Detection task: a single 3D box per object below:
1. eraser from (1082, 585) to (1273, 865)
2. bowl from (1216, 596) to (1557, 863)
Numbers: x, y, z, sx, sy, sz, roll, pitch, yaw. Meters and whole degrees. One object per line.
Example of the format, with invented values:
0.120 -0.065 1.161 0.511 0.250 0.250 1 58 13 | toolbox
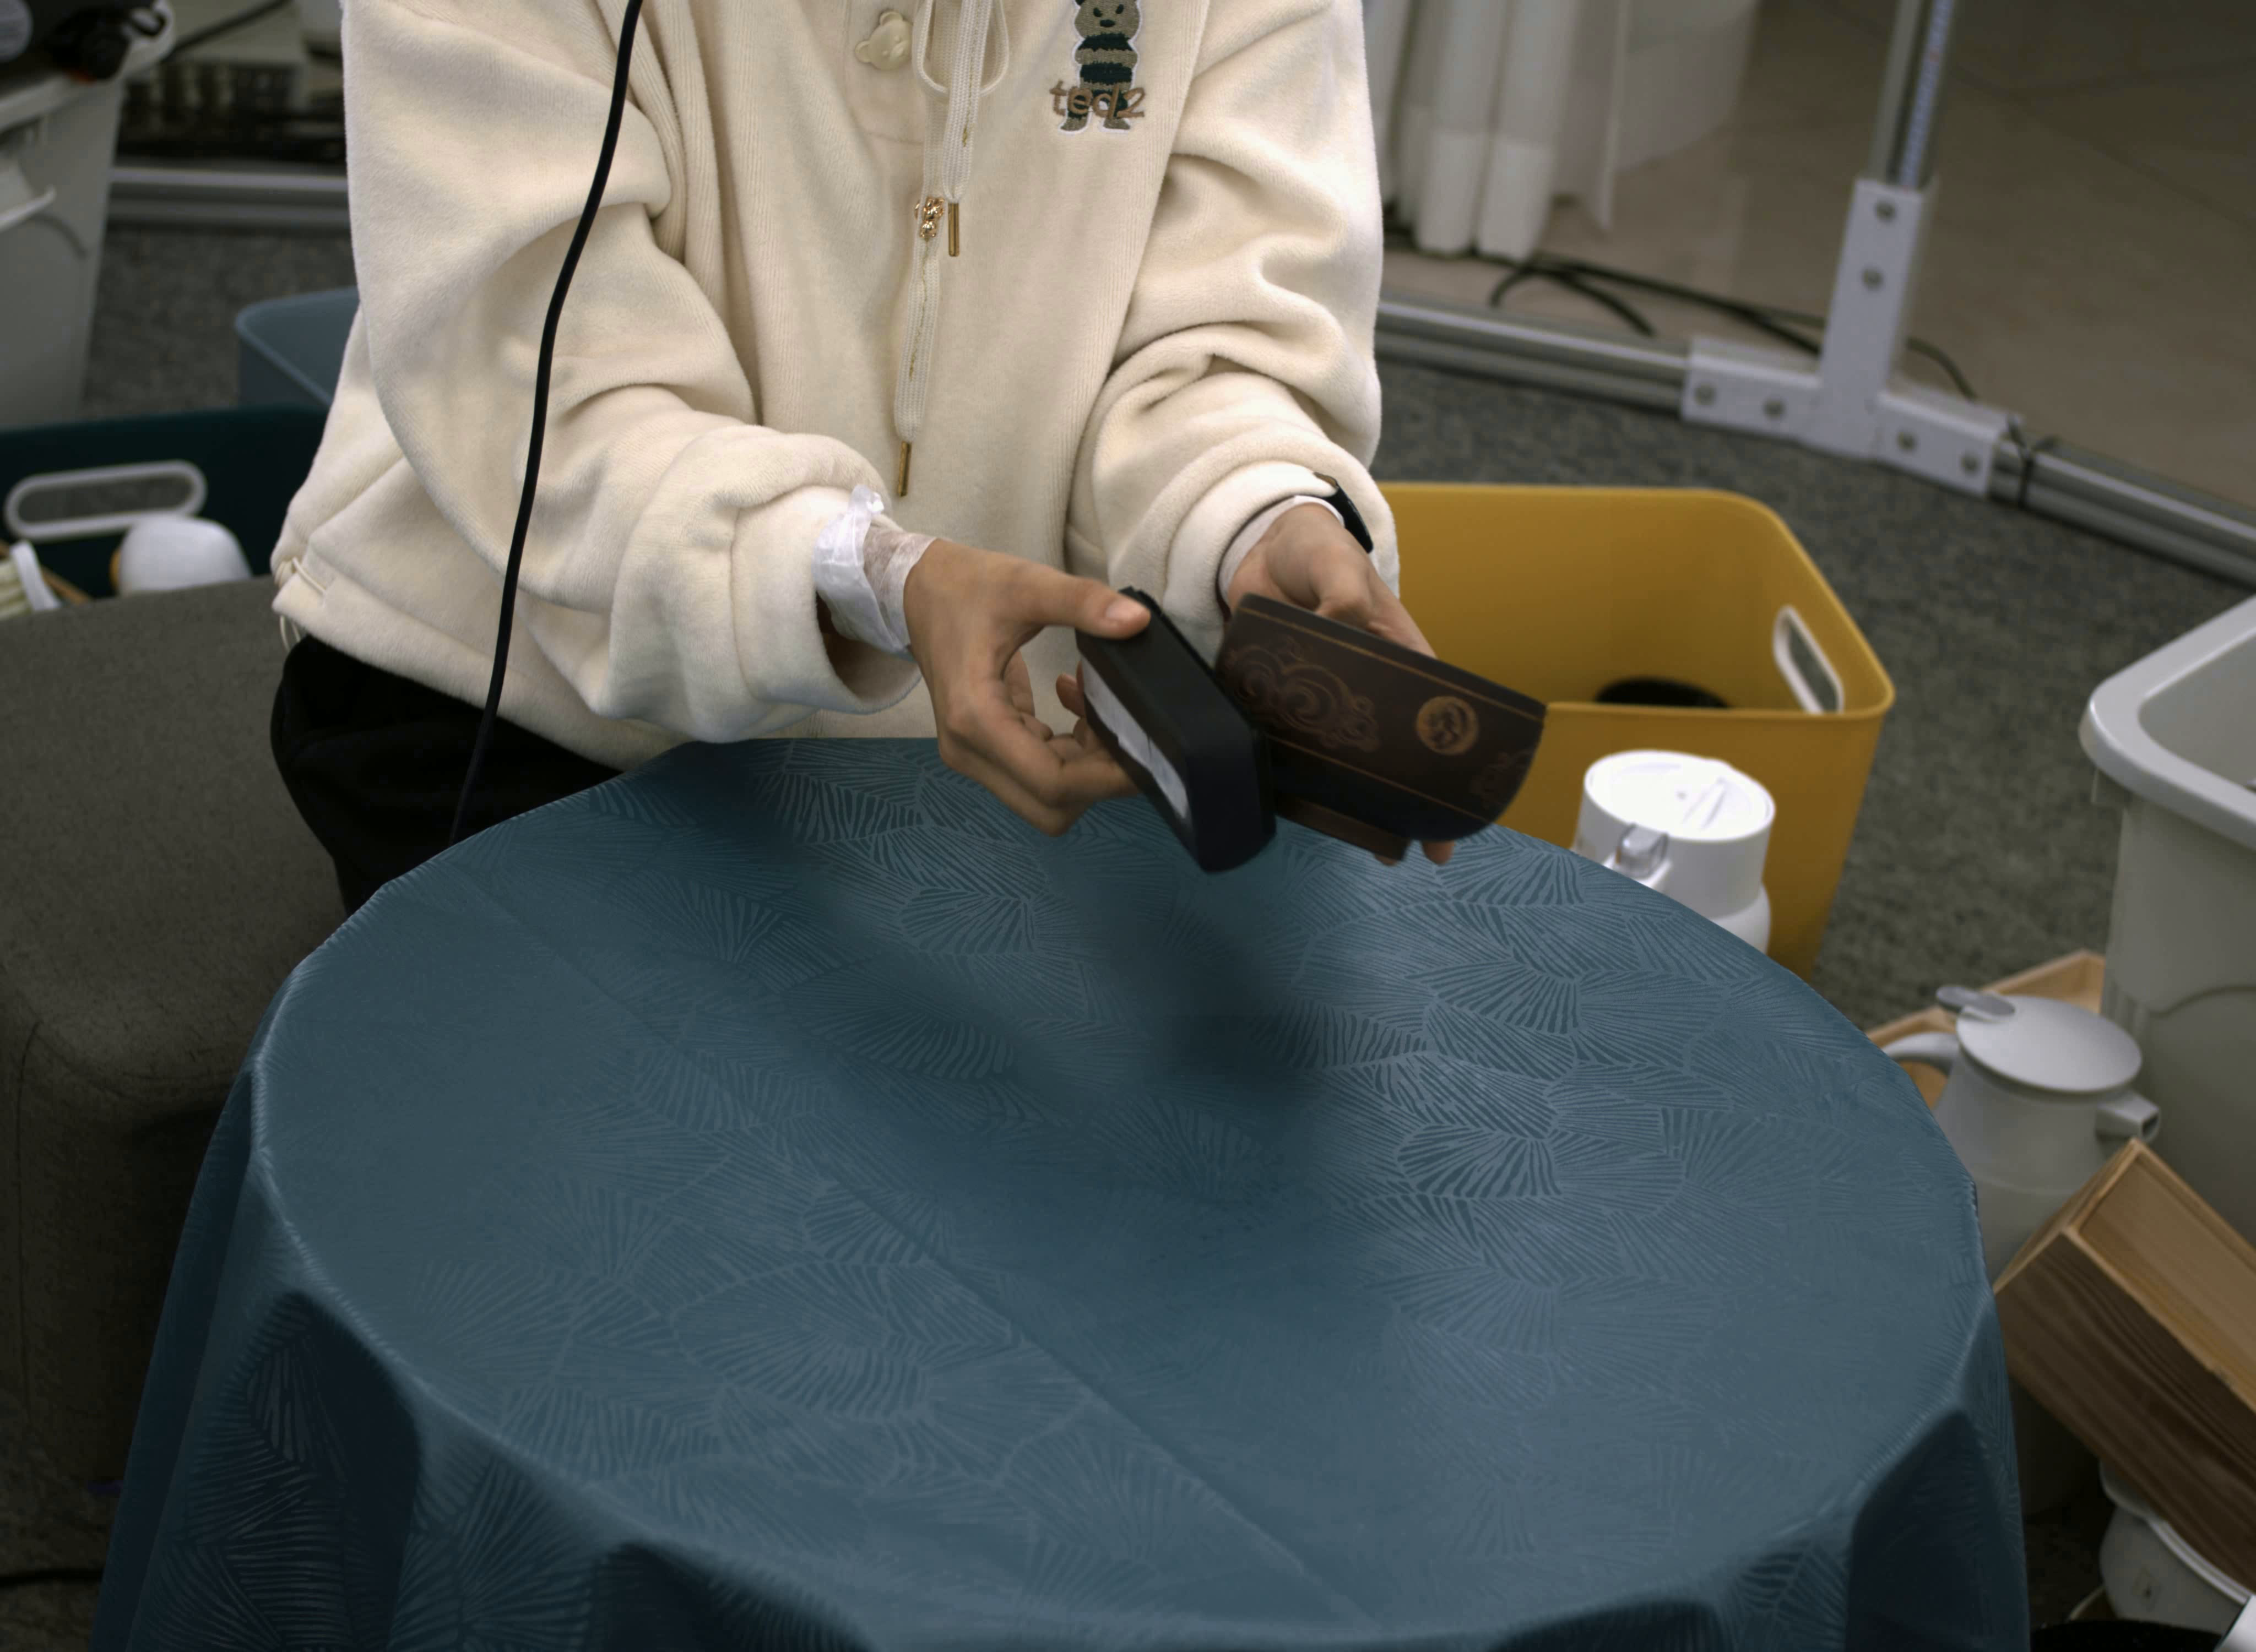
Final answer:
0.016 -0.037 1.831 0.030 0.053 0.126 -12 27 -14 | eraser
0.083 -0.029 1.843 0.118 0.070 0.118 19 -1 0 | bowl
